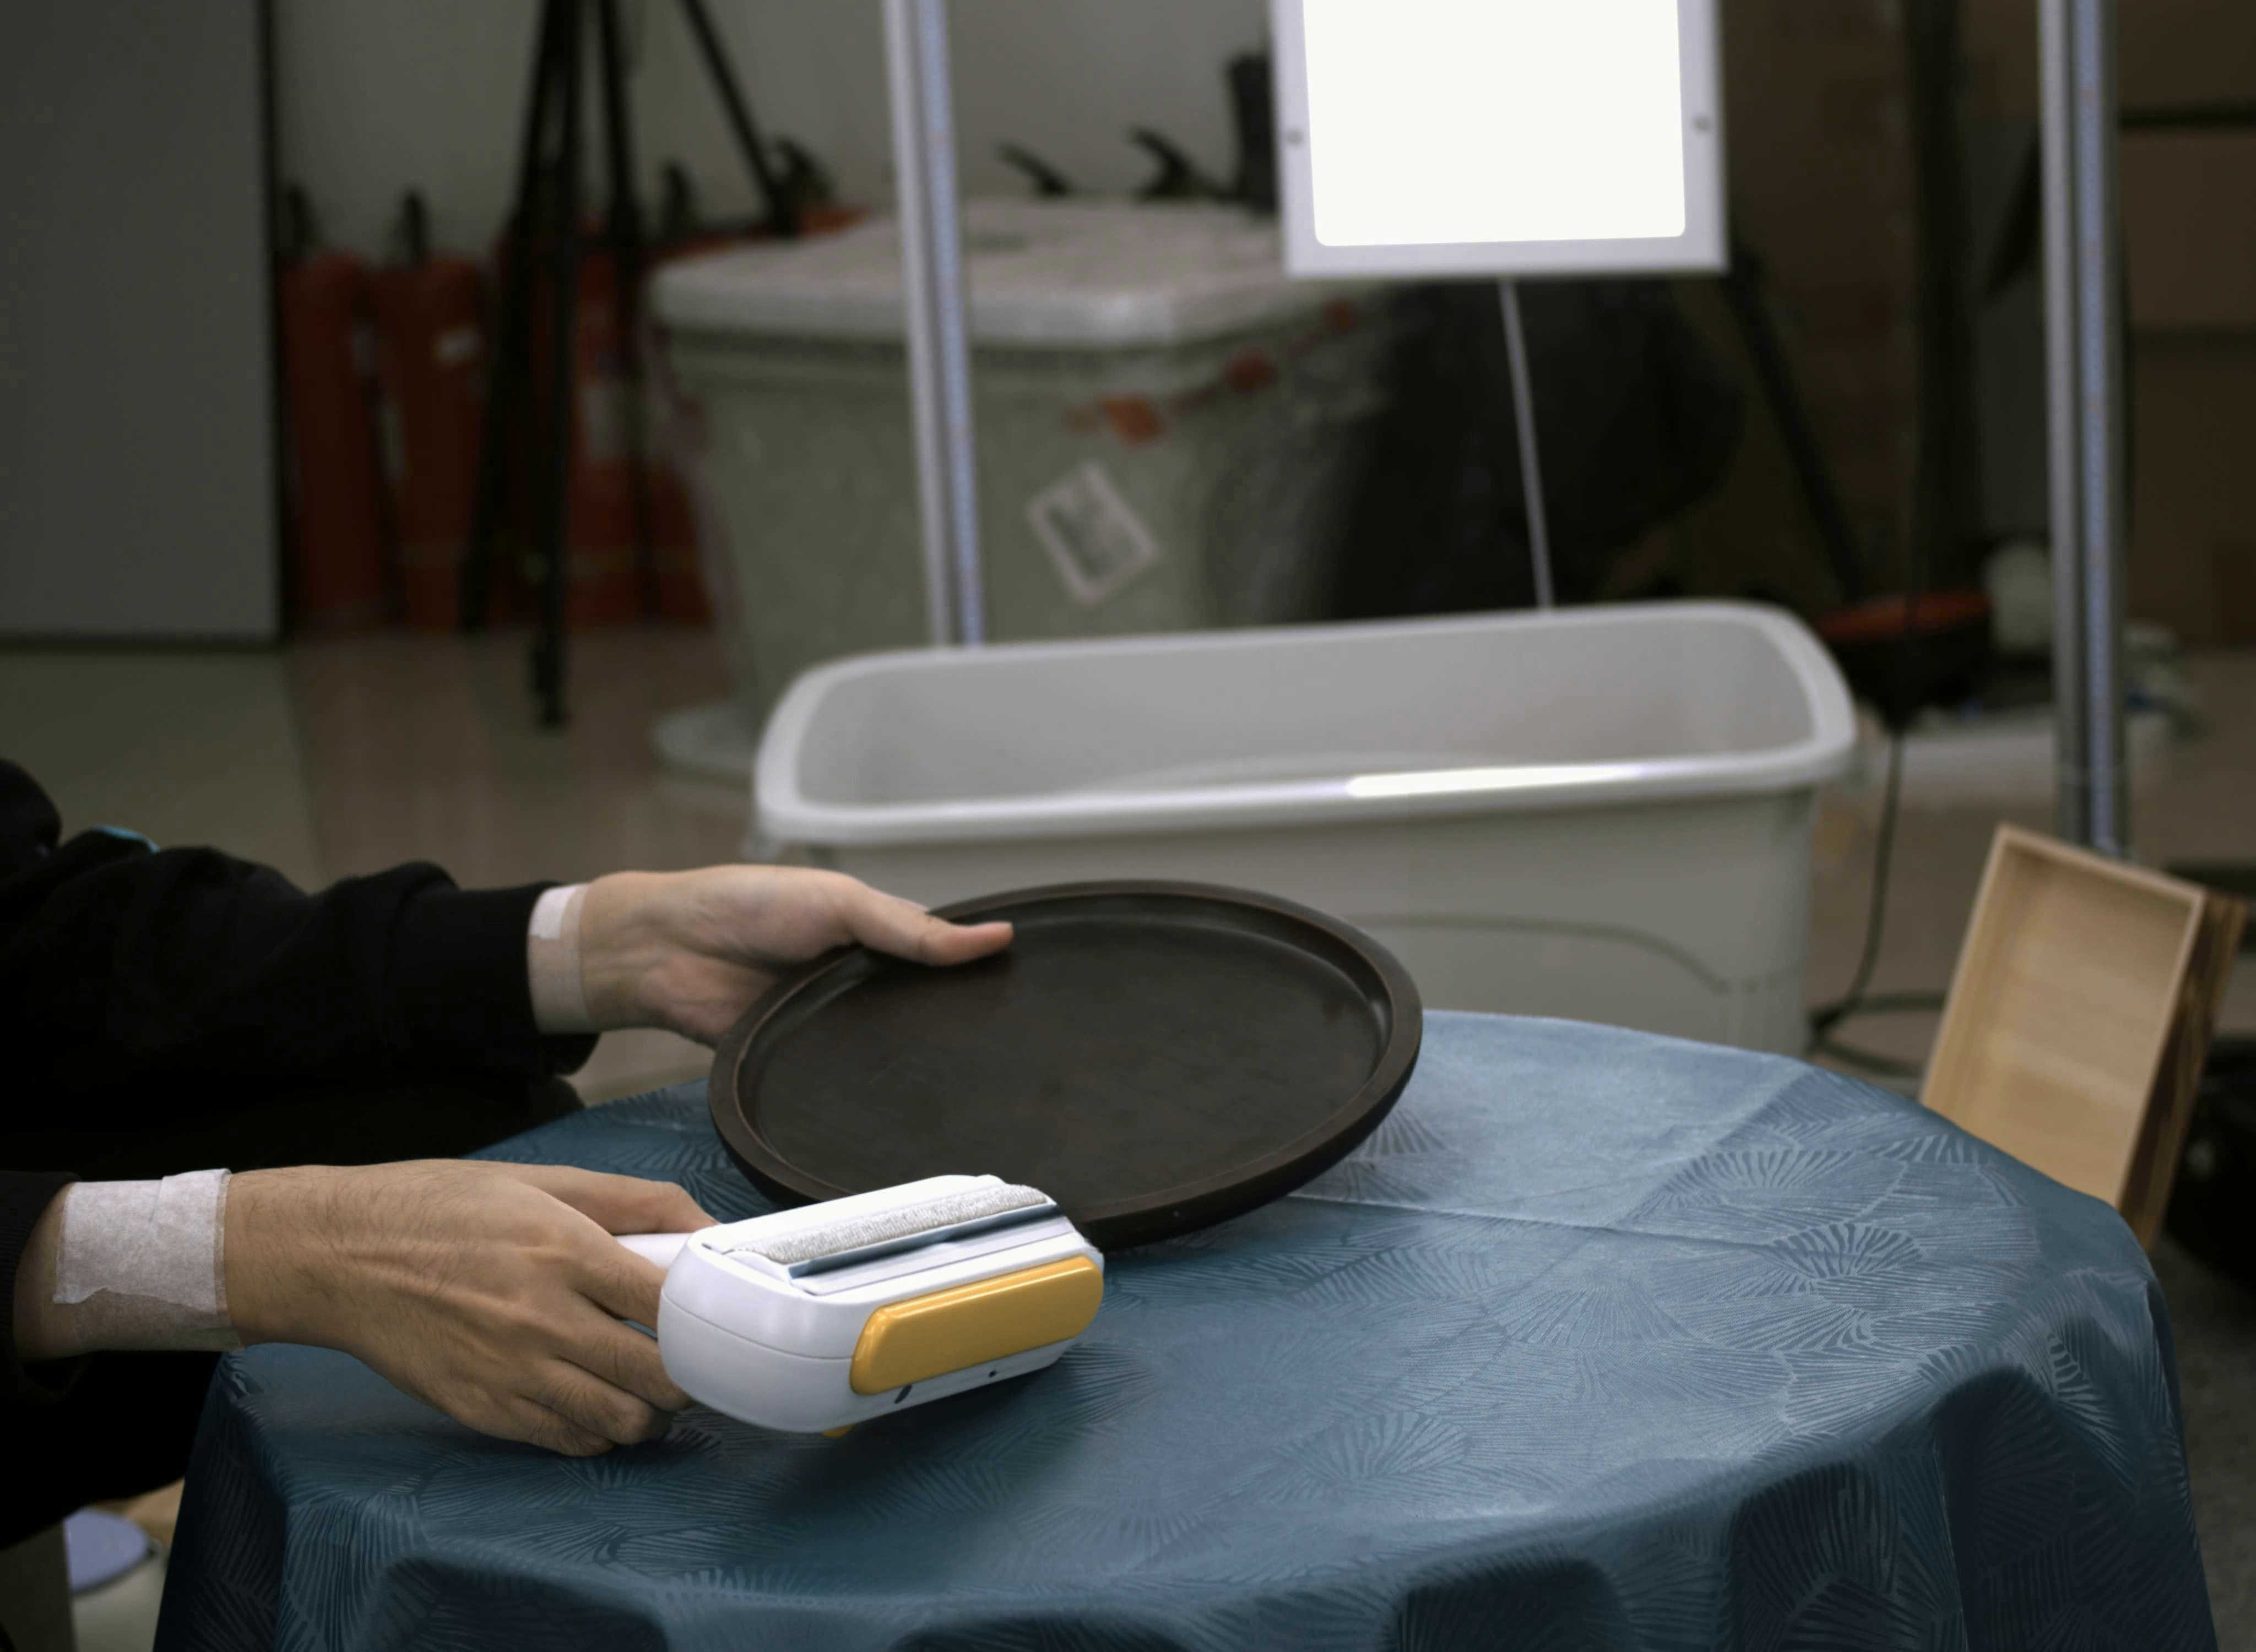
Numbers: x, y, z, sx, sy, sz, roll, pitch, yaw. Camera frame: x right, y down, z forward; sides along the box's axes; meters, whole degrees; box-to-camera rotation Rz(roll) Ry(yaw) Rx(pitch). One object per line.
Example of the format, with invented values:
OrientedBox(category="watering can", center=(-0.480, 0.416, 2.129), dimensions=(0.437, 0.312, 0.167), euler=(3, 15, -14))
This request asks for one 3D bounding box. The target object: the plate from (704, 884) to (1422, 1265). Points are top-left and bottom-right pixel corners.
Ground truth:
OrientedBox(category="plate", center=(-0.022, 0.086, 1.928), dimensions=(0.255, 0.029, 0.254), euler=(-8, 25, 3))

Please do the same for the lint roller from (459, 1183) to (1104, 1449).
OrientedBox(category="lint roller", center=(-0.126, 0.141, 1.704), dimensions=(0.196, 0.074, 0.188), euler=(12, 14, 33))
